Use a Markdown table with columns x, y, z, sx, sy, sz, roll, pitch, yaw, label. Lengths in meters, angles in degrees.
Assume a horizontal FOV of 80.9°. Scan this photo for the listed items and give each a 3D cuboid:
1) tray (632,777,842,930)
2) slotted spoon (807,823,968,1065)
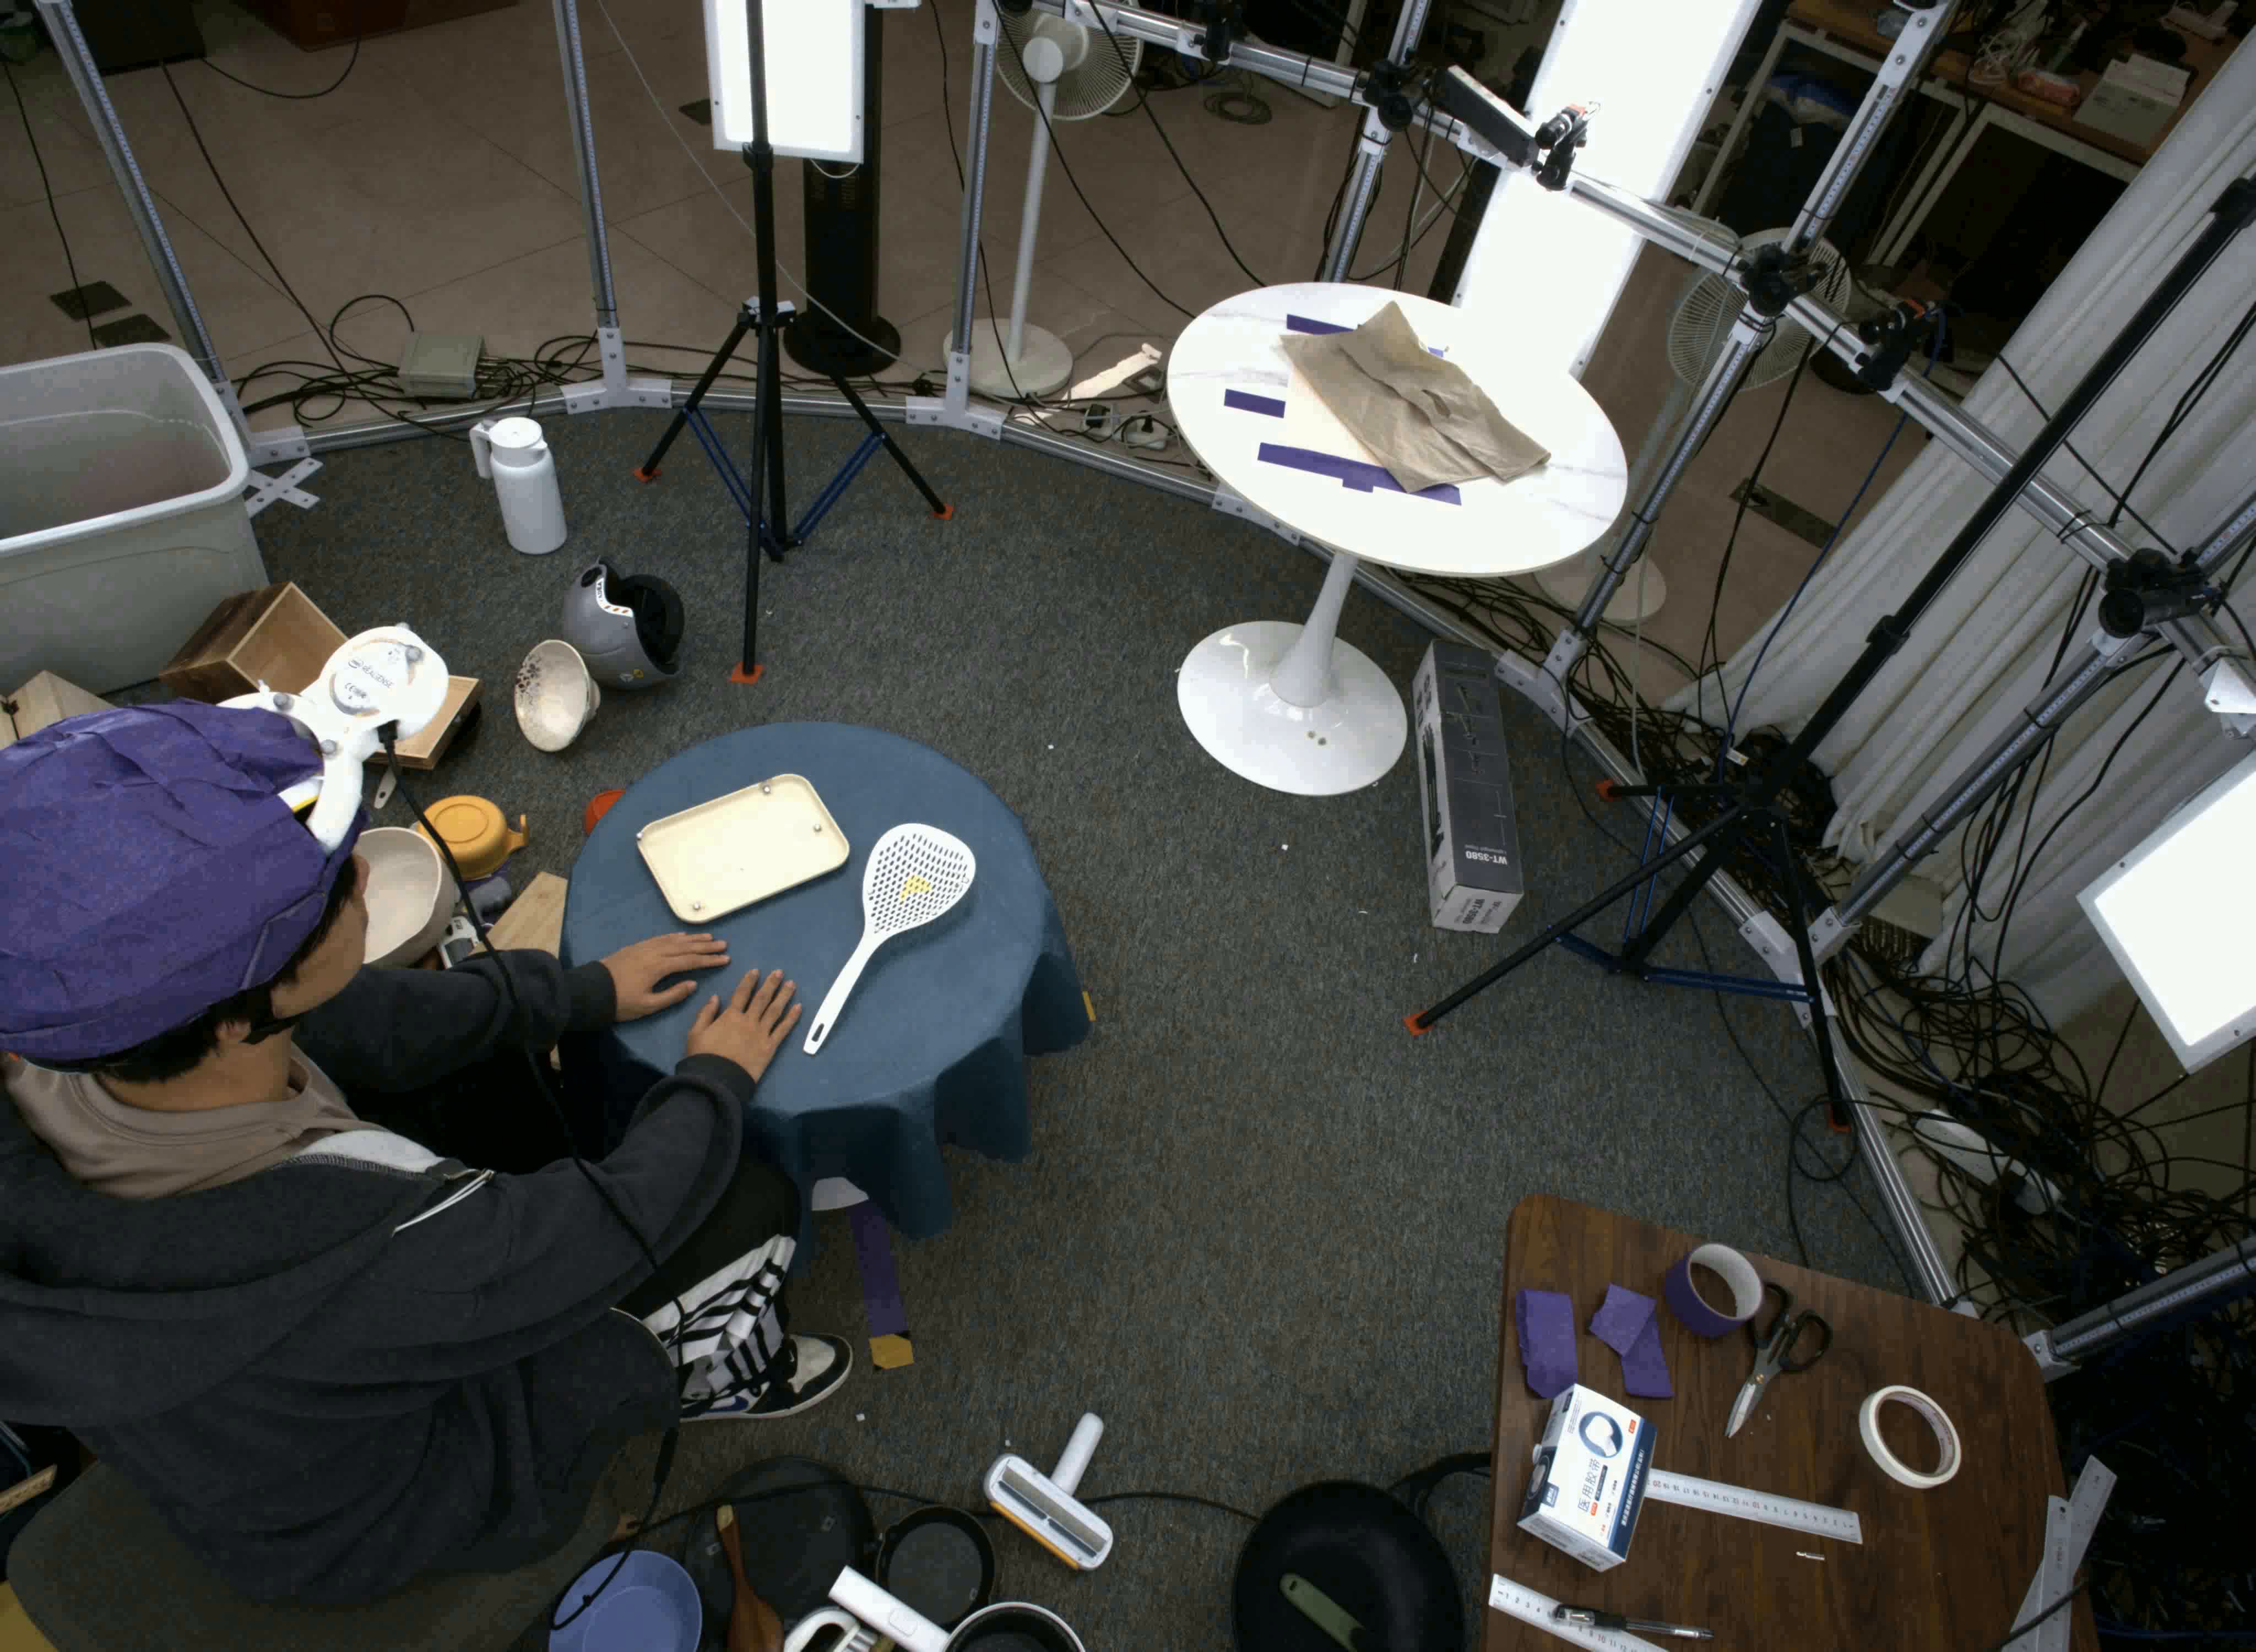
| x | y | z | sx | sy | sz | roll | pitch | yaw | label |
| --- | --- | --- | --- | --- | --- | --- | --- | --- | --- |
| -0.506 | 0.032 | 1.672 | 0.241 | 0.018 | 0.167 | -24 | 64 | -29 | tray |
| -0.318 | 0.140 | 1.624 | 0.135 | 0.051 | 0.345 | 24 | 51 | 3 | slotted spoon |
